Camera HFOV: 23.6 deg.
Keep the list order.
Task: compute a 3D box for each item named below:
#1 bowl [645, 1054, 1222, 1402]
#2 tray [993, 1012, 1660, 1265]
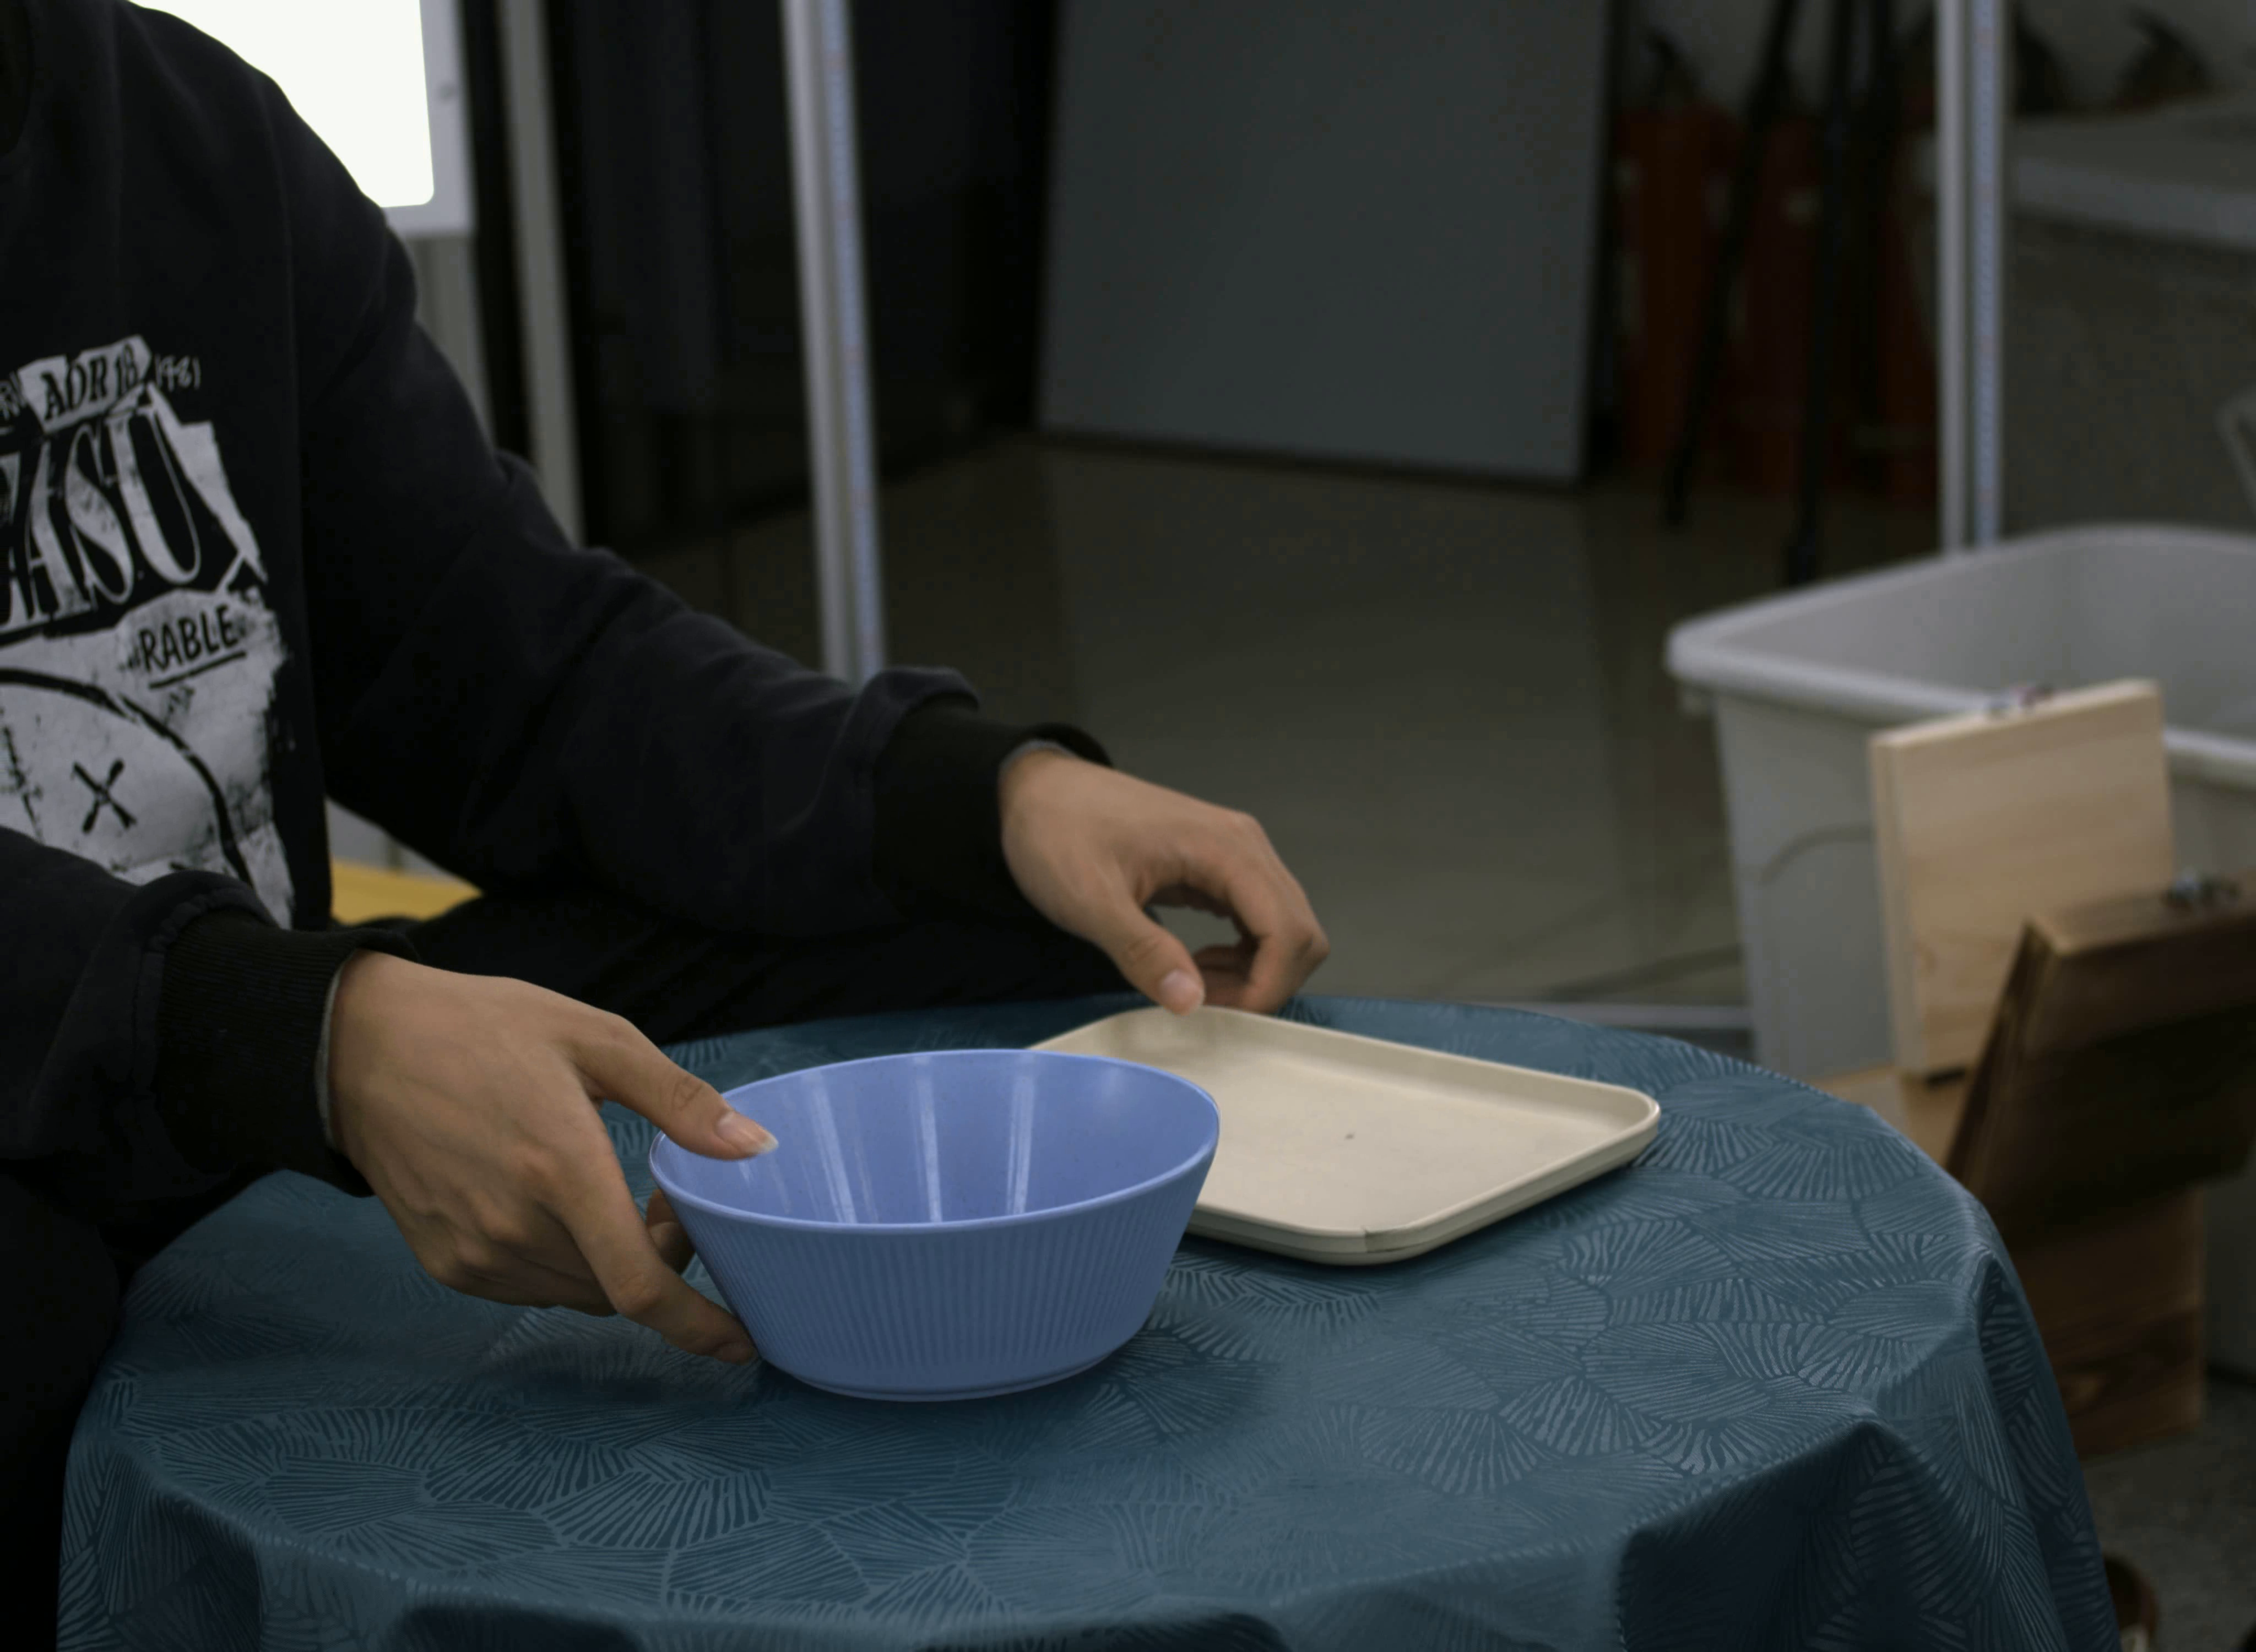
[{"bbox_3d":[-0.057,0.123,1.631,0.174,0.071,0.176,-3,14,0],"label":"bowl"},{"bbox_3d":[0.045,0.103,1.794,0.242,0.017,0.168,9,19,43],"label":"tray"}]
